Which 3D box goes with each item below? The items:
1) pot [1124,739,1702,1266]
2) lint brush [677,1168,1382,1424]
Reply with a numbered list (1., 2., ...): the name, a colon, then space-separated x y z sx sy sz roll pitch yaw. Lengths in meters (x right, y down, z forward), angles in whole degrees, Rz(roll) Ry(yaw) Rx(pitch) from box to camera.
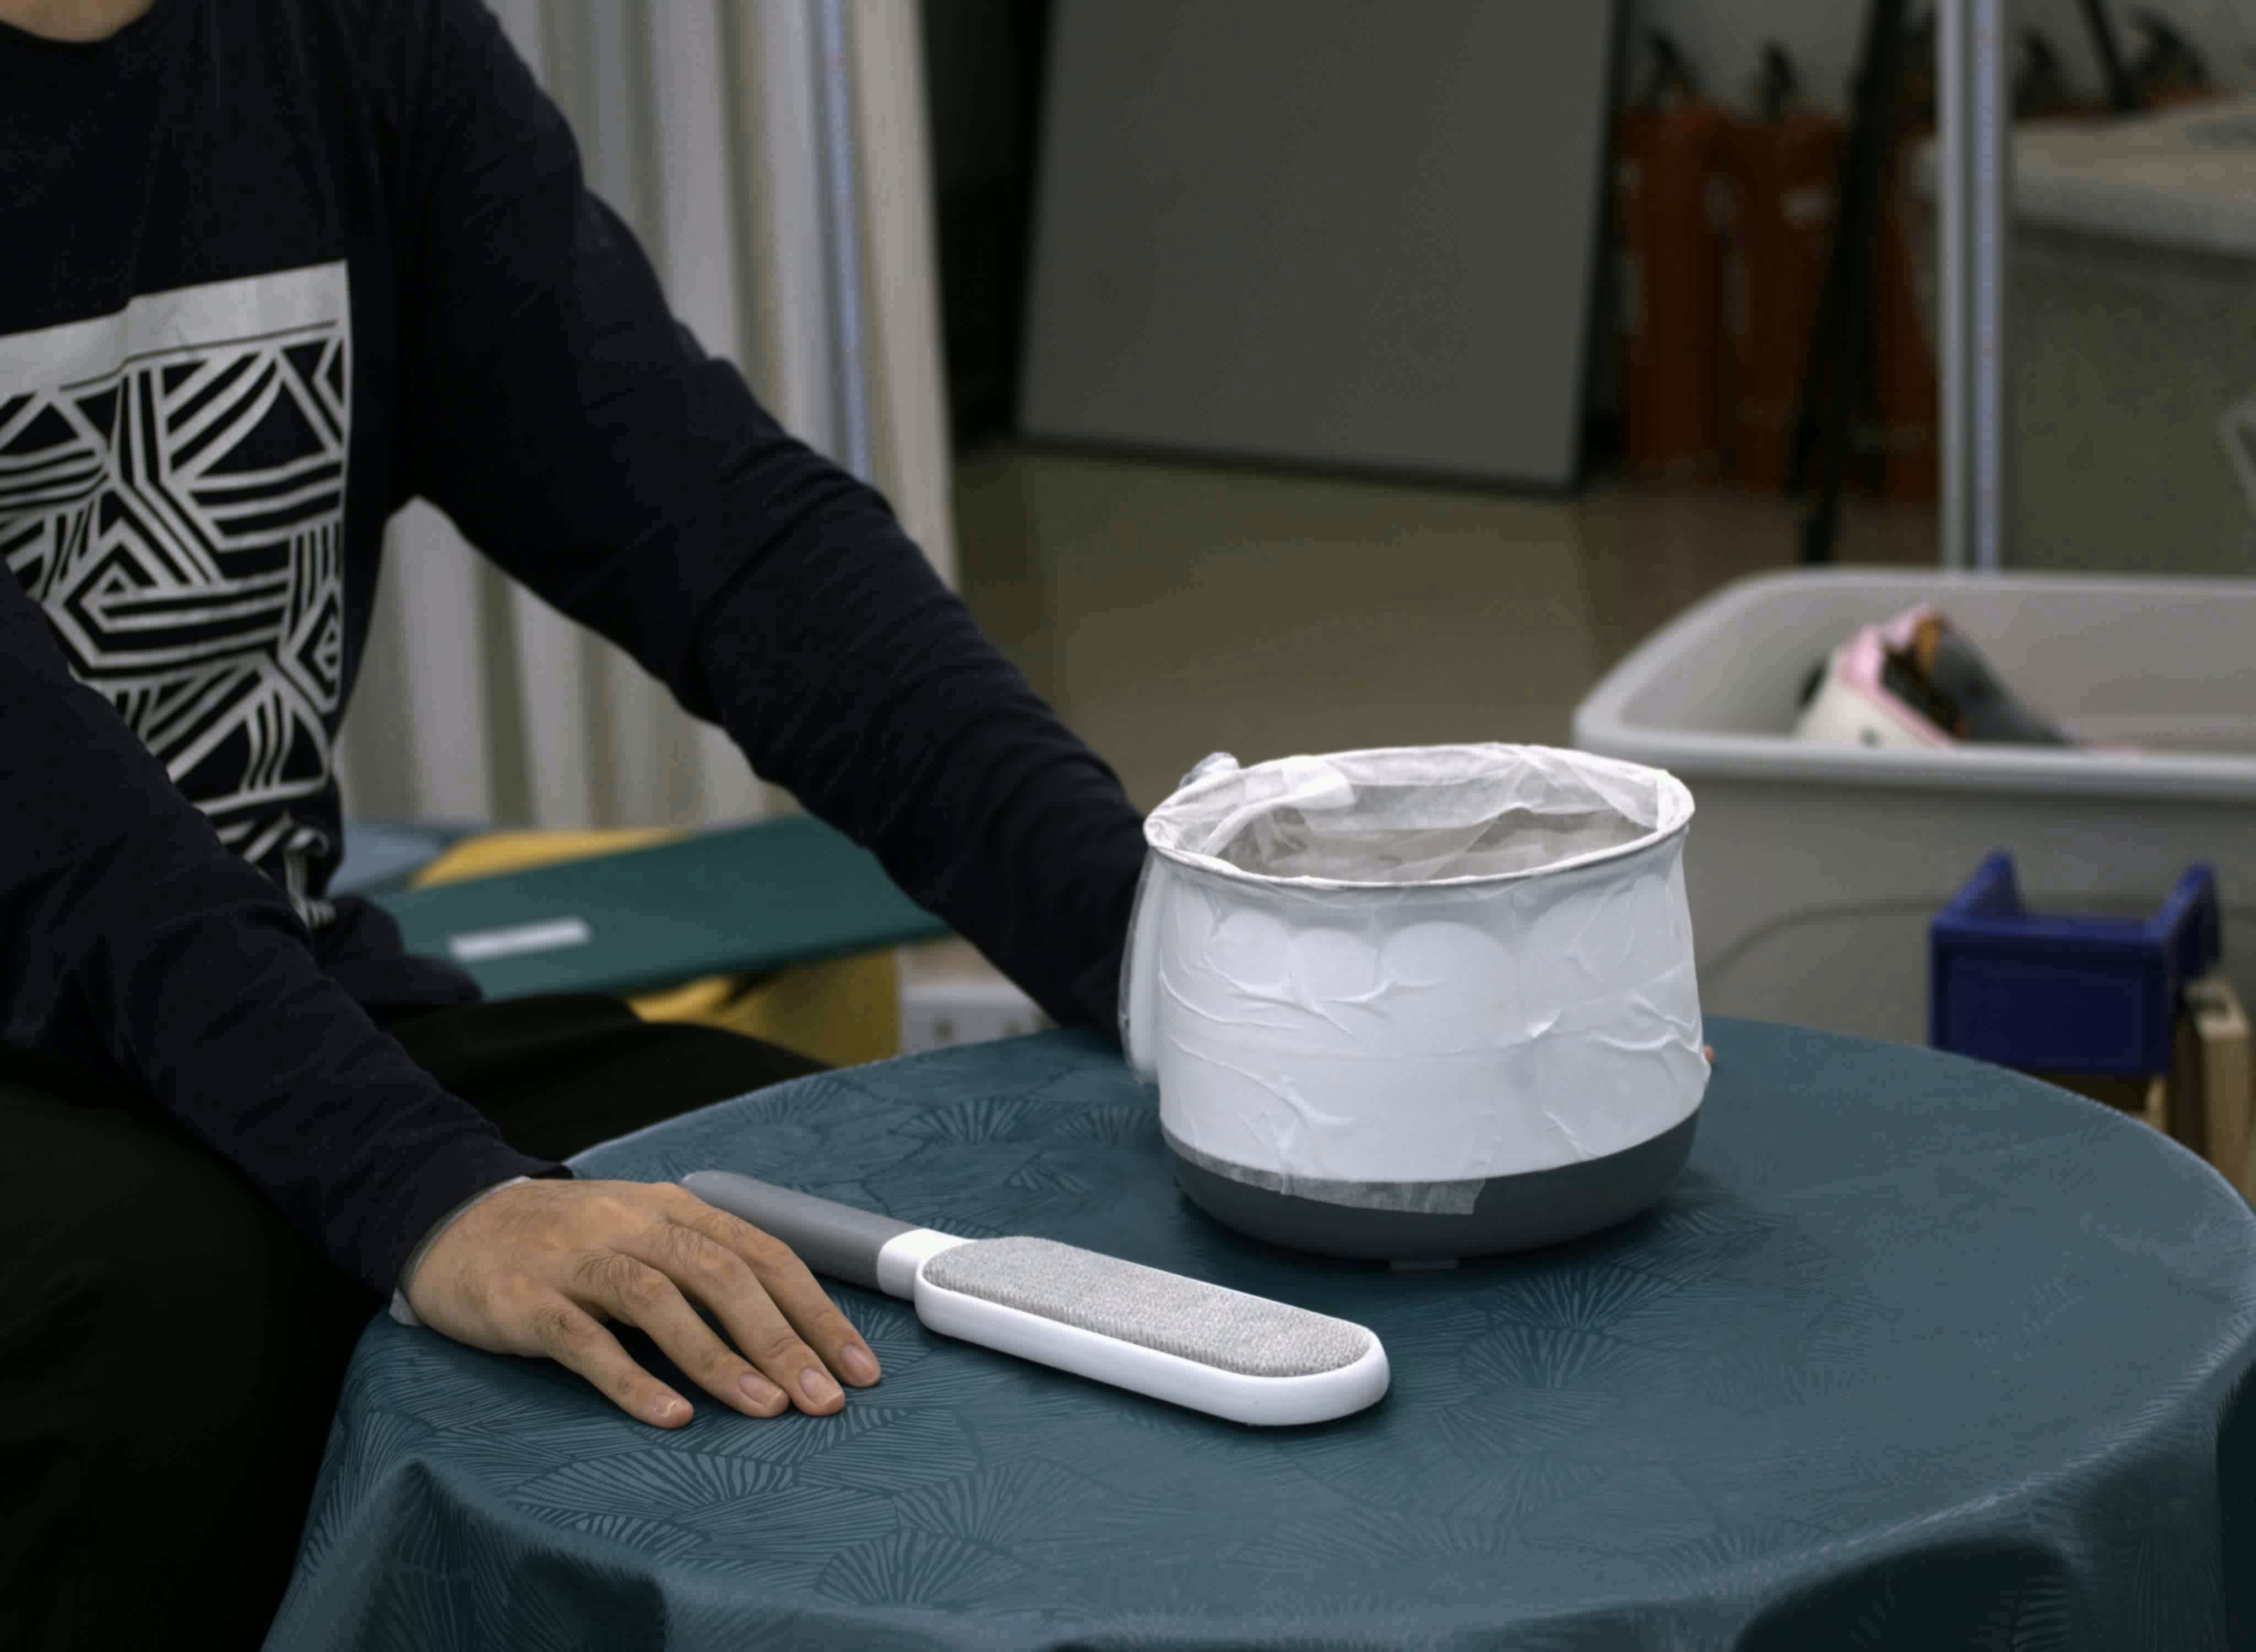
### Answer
1. pot: 0.079 0.050 1.746 0.175 0.138 0.236 -12 15 -38
2. lint brush: -0.037 0.140 1.654 0.059 0.021 0.312 -23 22 -38
